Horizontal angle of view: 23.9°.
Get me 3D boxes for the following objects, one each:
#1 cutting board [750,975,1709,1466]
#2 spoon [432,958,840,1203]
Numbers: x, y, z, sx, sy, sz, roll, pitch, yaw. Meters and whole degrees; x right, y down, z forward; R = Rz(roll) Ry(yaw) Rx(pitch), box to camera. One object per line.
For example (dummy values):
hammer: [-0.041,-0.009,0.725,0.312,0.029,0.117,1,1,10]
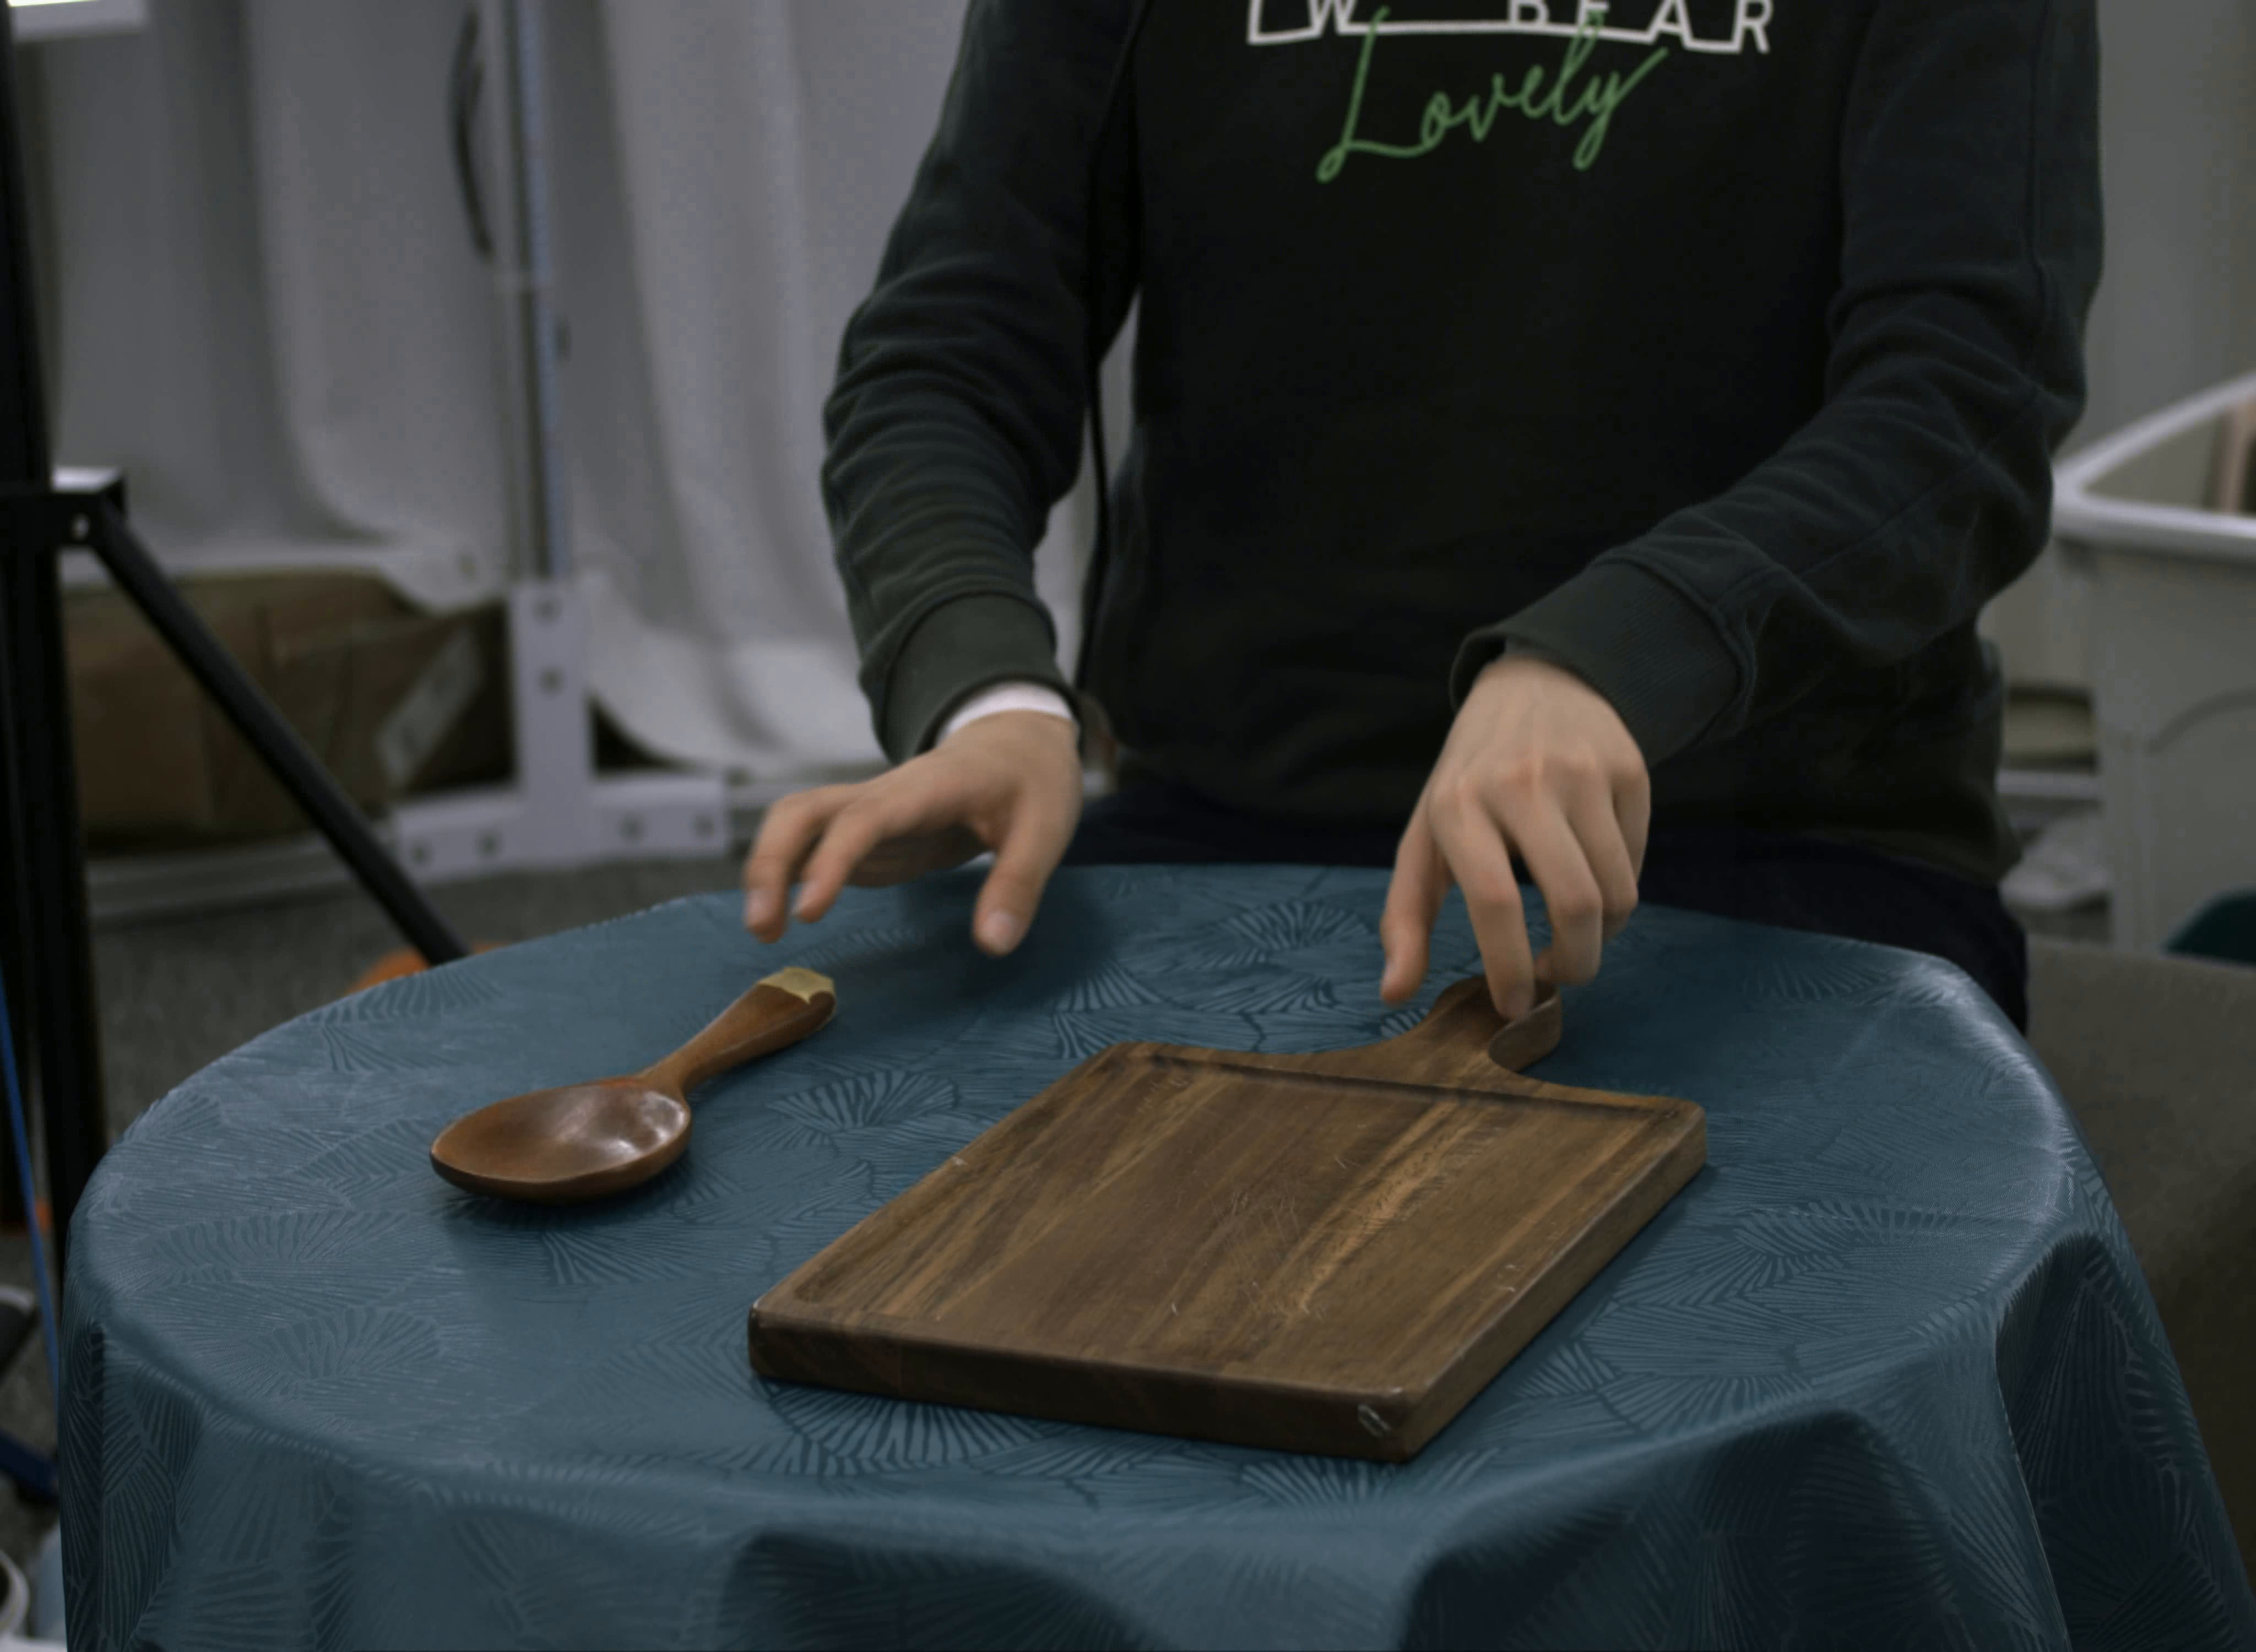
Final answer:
cutting board: [0.054,0.103,1.534,0.204,0.023,0.347,4,17,25]
spoon: [-0.142,0.080,1.647,0.076,0.017,0.213,2,17,24]
